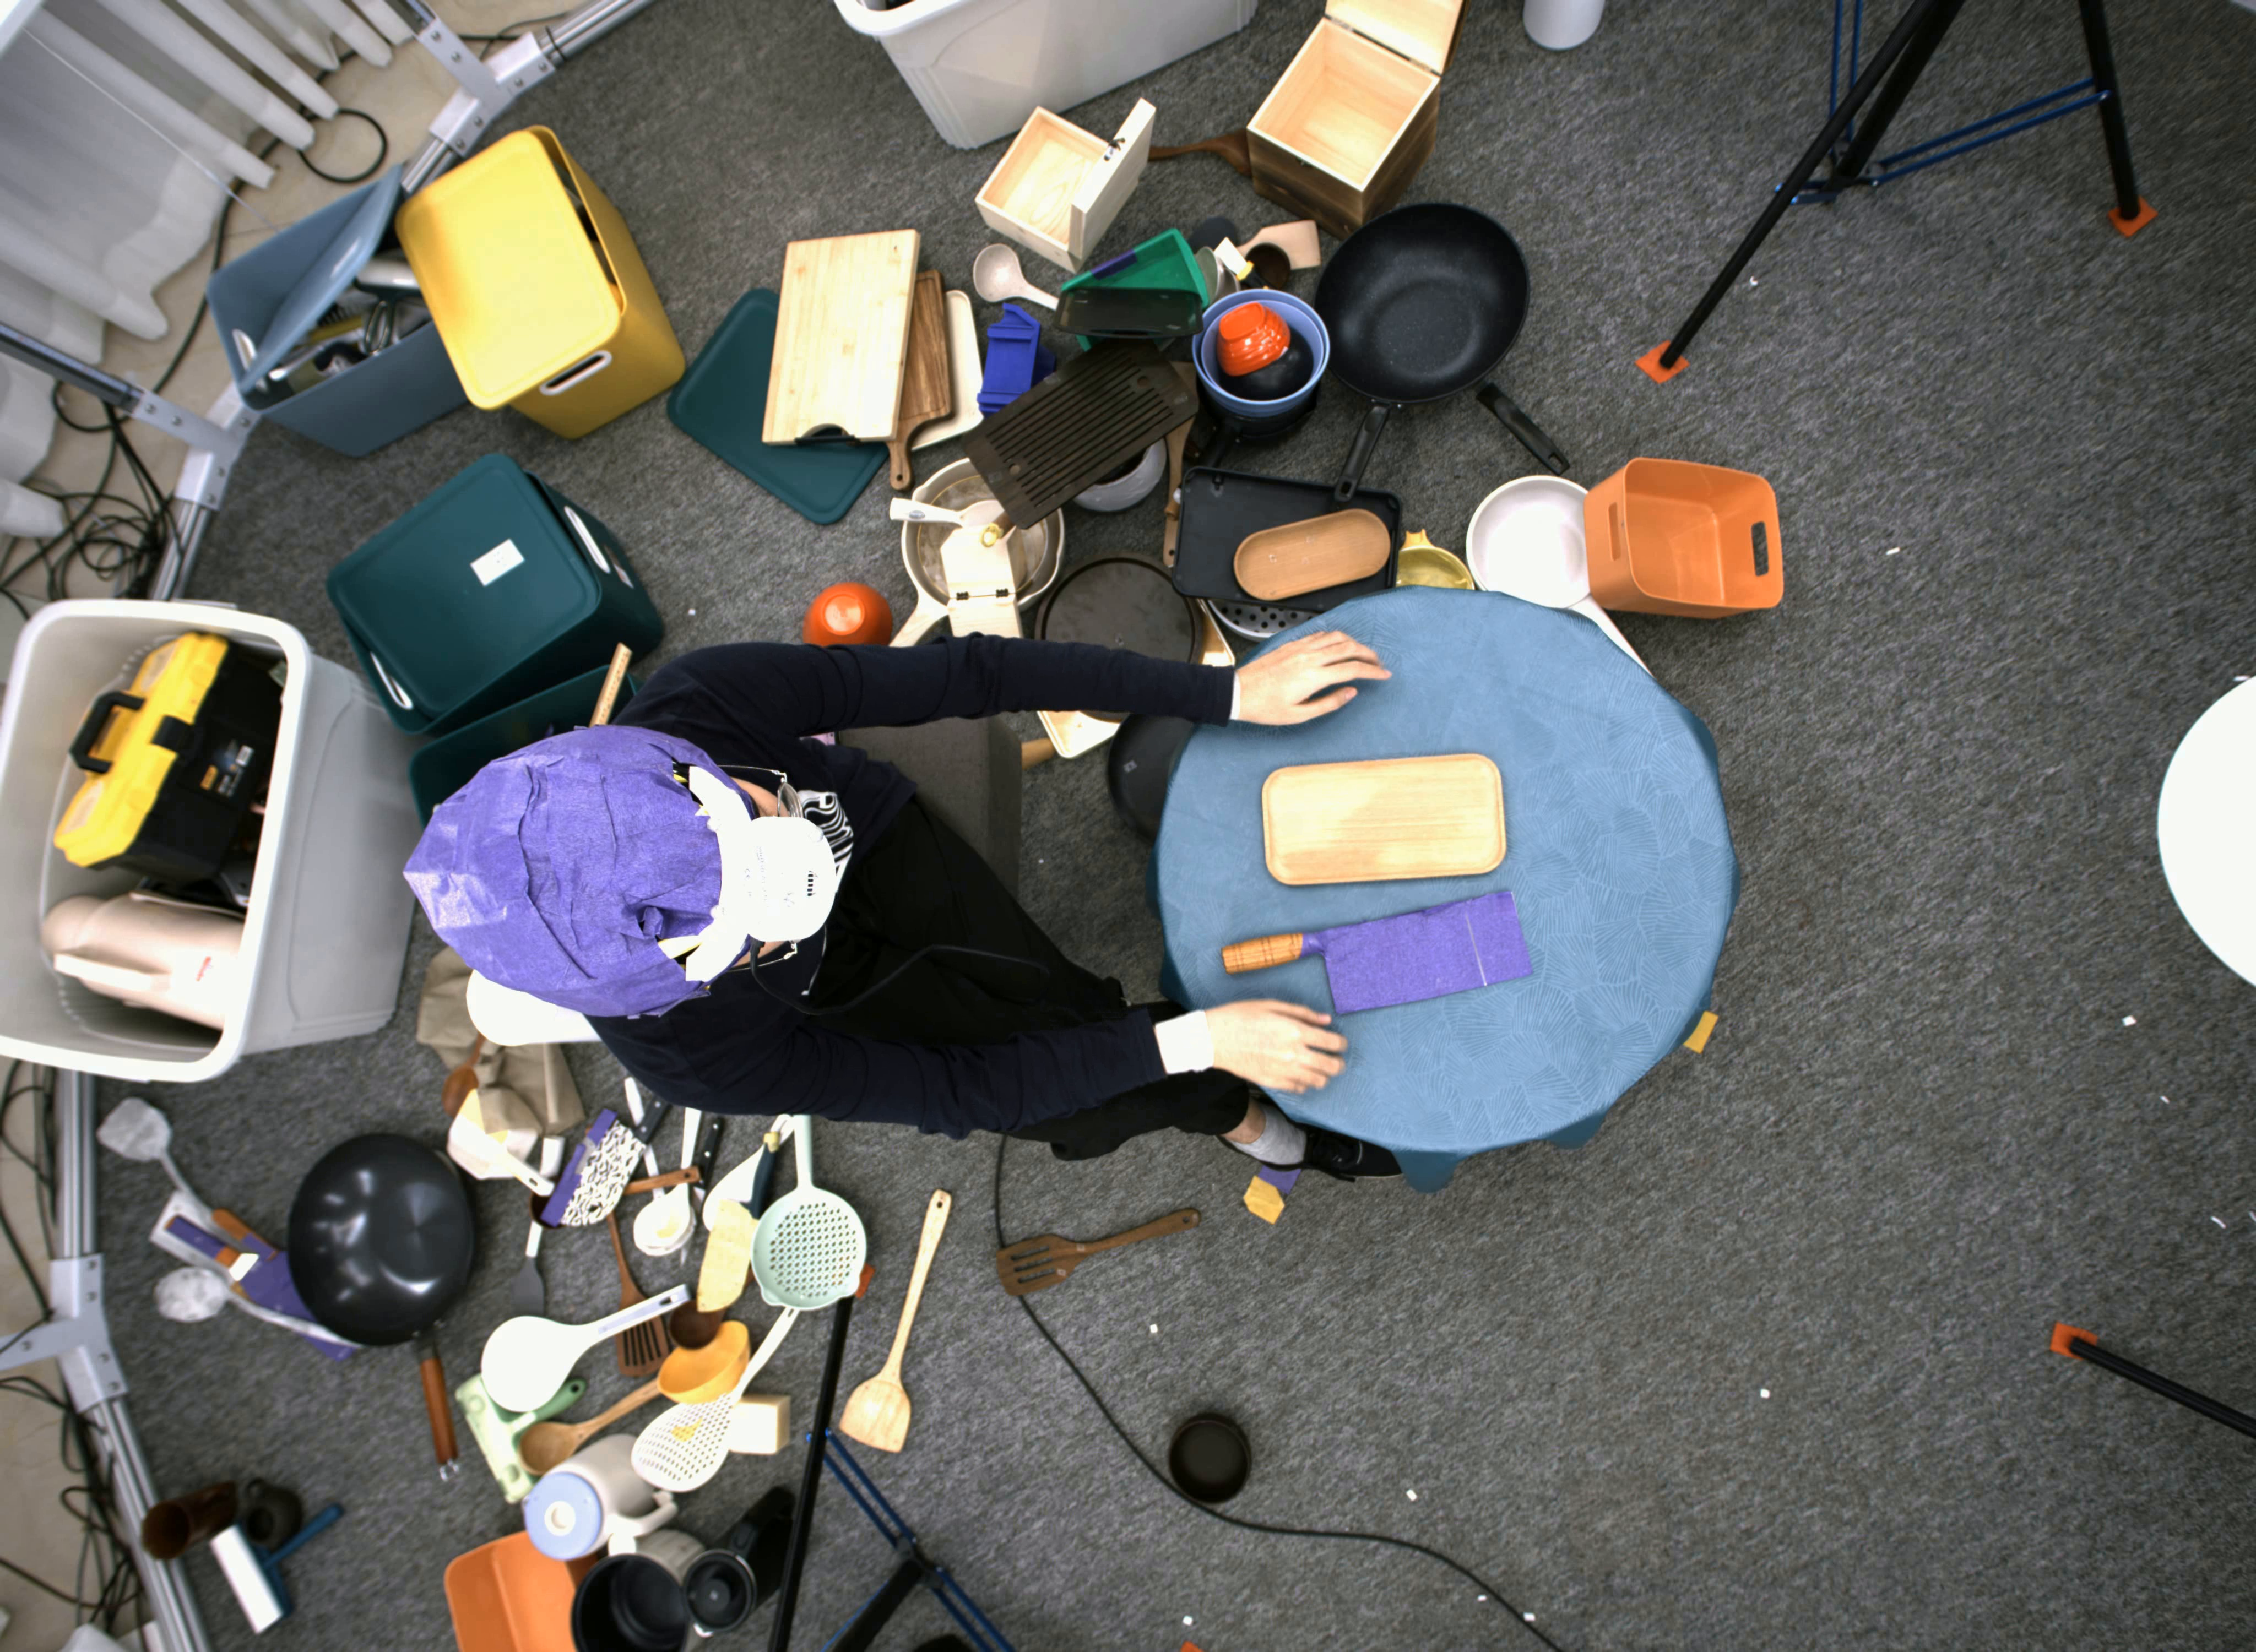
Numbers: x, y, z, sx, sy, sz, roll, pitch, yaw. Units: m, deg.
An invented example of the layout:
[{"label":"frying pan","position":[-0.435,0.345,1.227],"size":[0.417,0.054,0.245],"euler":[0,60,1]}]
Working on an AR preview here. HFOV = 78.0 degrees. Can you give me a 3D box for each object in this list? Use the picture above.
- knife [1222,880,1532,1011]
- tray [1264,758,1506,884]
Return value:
[{"label":"knife","position":[0.260,0.139,1.445],"size":[0.317,0.032,0.103],"euler":[-14,84,9]},{"label":"tray","position":[0.269,-0.006,1.456],"size":[0.252,0.023,0.130],"euler":[-1,89,10]}]
